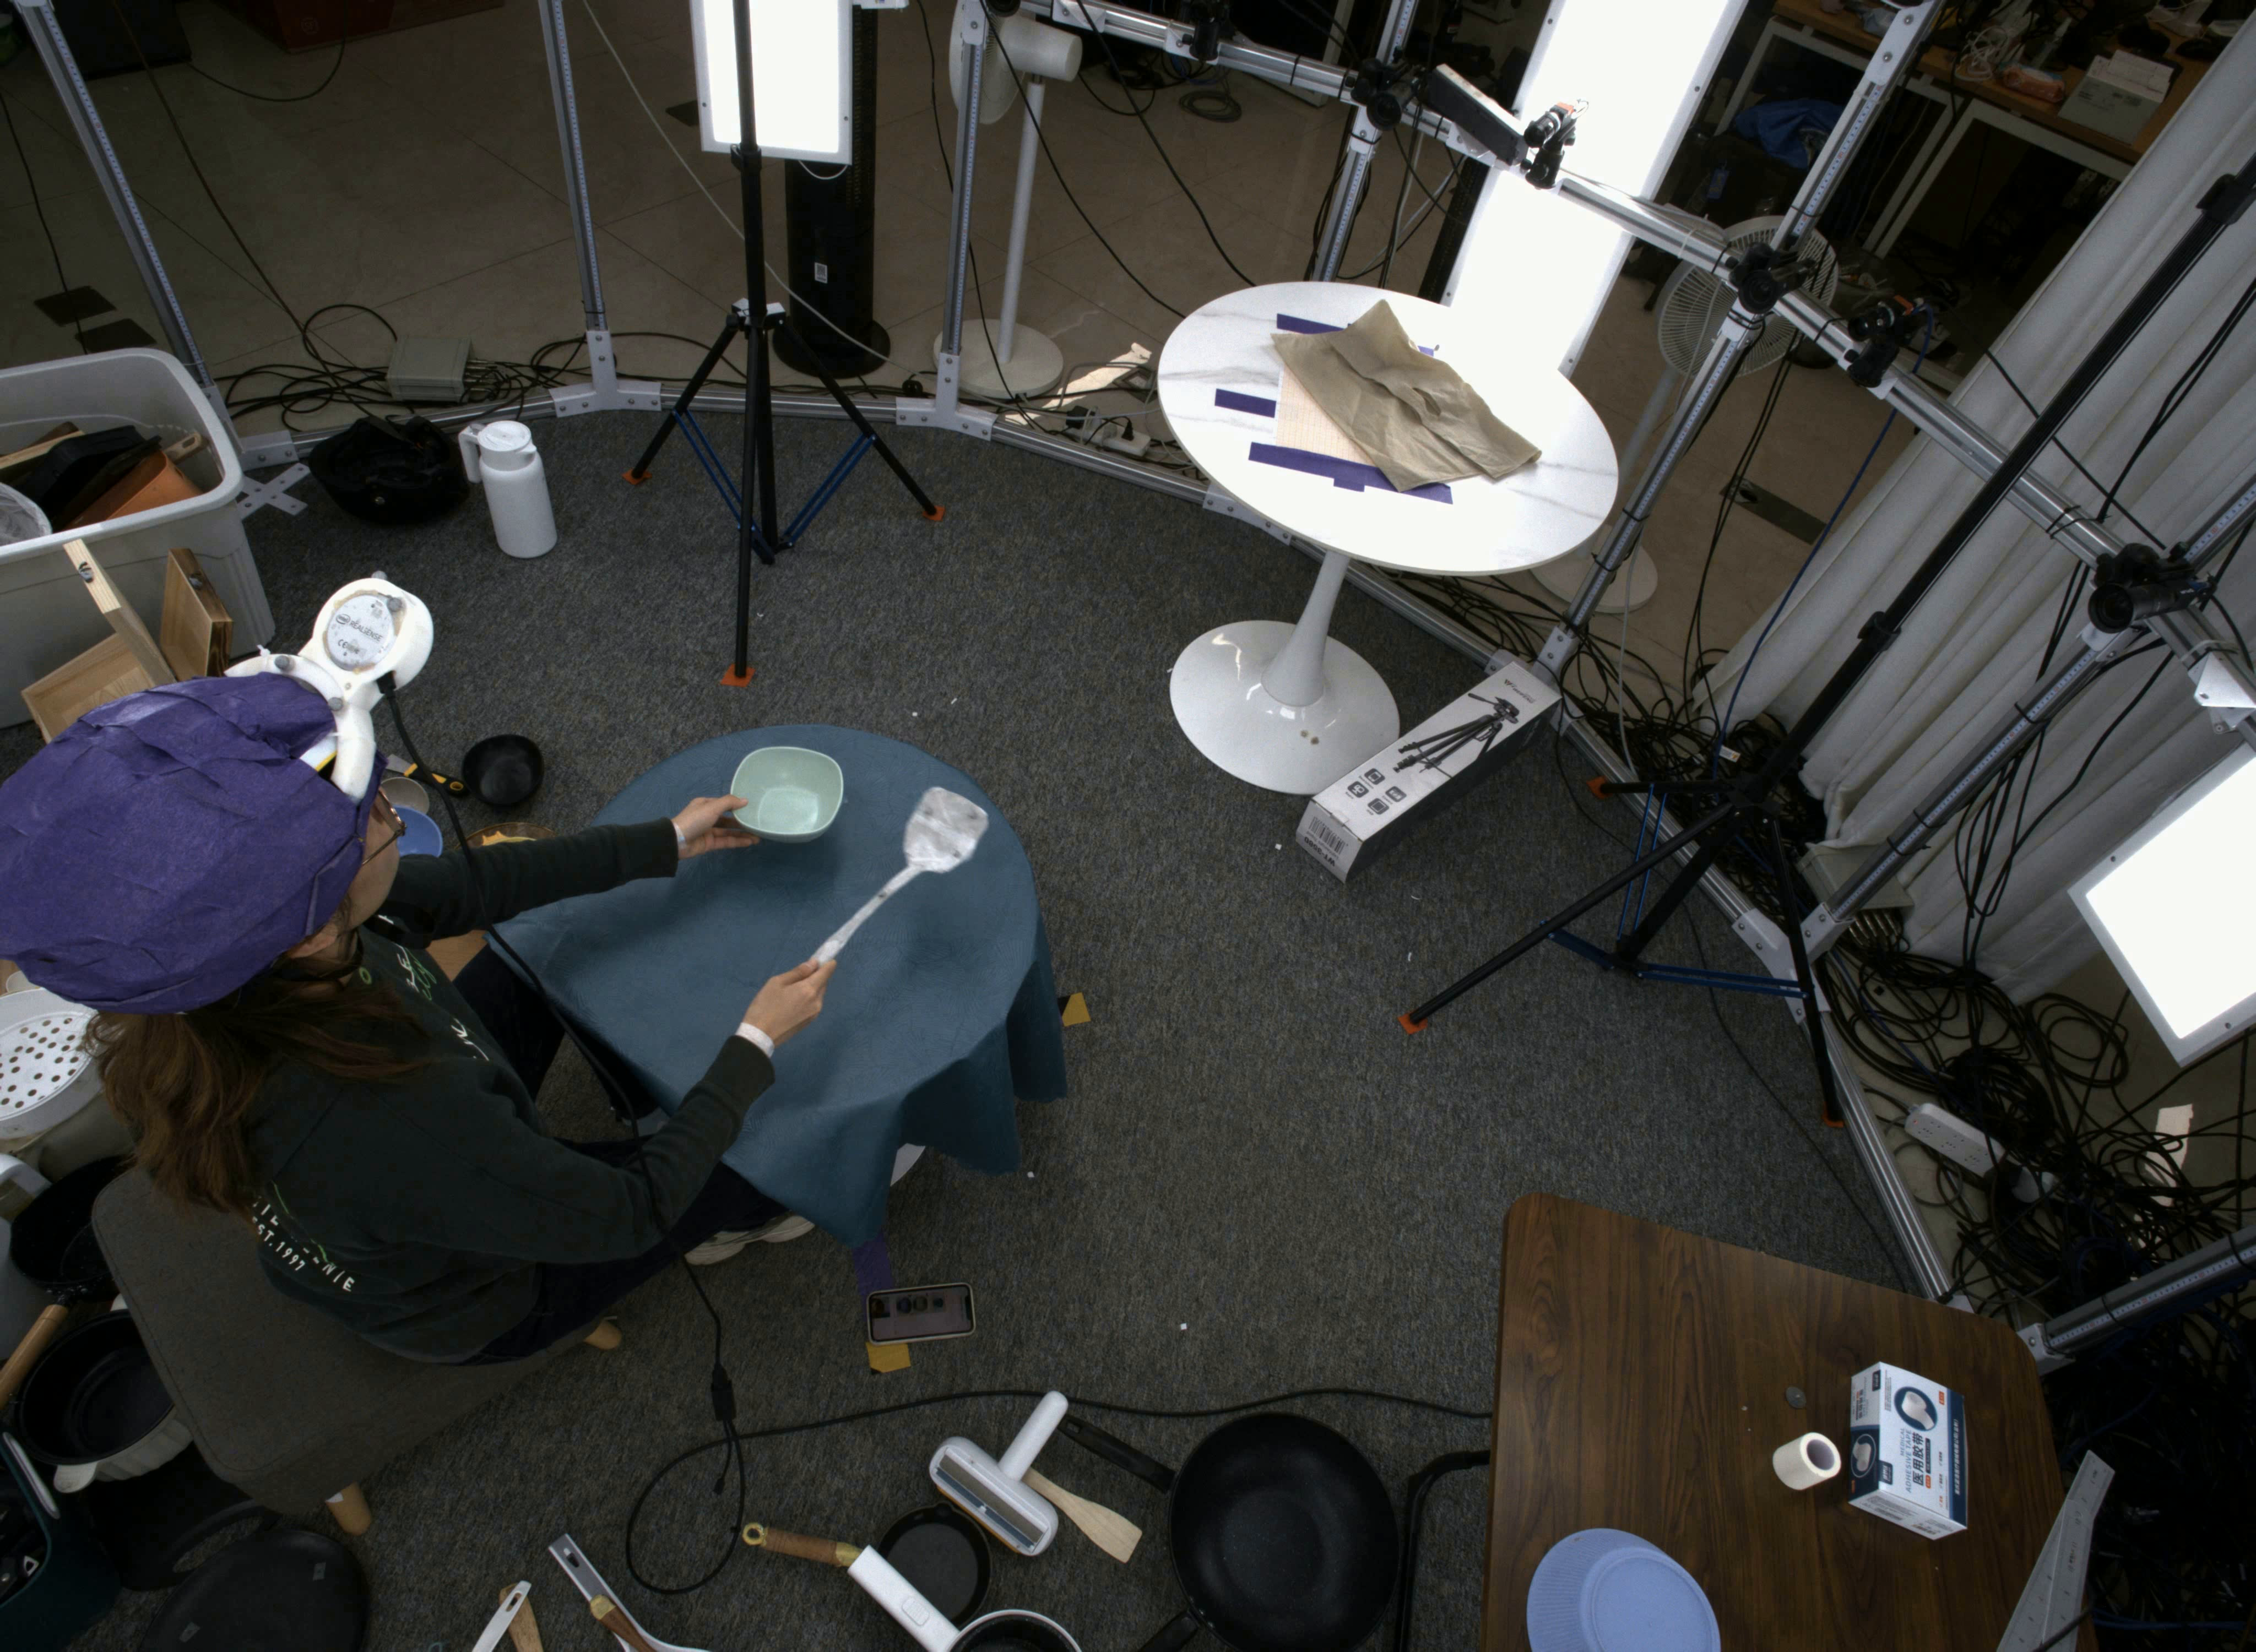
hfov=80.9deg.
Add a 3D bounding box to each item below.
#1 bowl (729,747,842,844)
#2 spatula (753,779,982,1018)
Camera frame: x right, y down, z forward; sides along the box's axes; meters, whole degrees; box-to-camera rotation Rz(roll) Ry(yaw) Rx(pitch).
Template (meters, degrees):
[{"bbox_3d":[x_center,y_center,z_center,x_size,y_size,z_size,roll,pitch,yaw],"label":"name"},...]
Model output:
[{"bbox_3d":[-0.438,-0.030,1.662,0.151,0.060,0.149,8,53,-9],"label":"bowl"},{"bbox_3d":[-0.310,0.086,1.526,0.096,0.046,0.364,30,58,18],"label":"spatula"}]
